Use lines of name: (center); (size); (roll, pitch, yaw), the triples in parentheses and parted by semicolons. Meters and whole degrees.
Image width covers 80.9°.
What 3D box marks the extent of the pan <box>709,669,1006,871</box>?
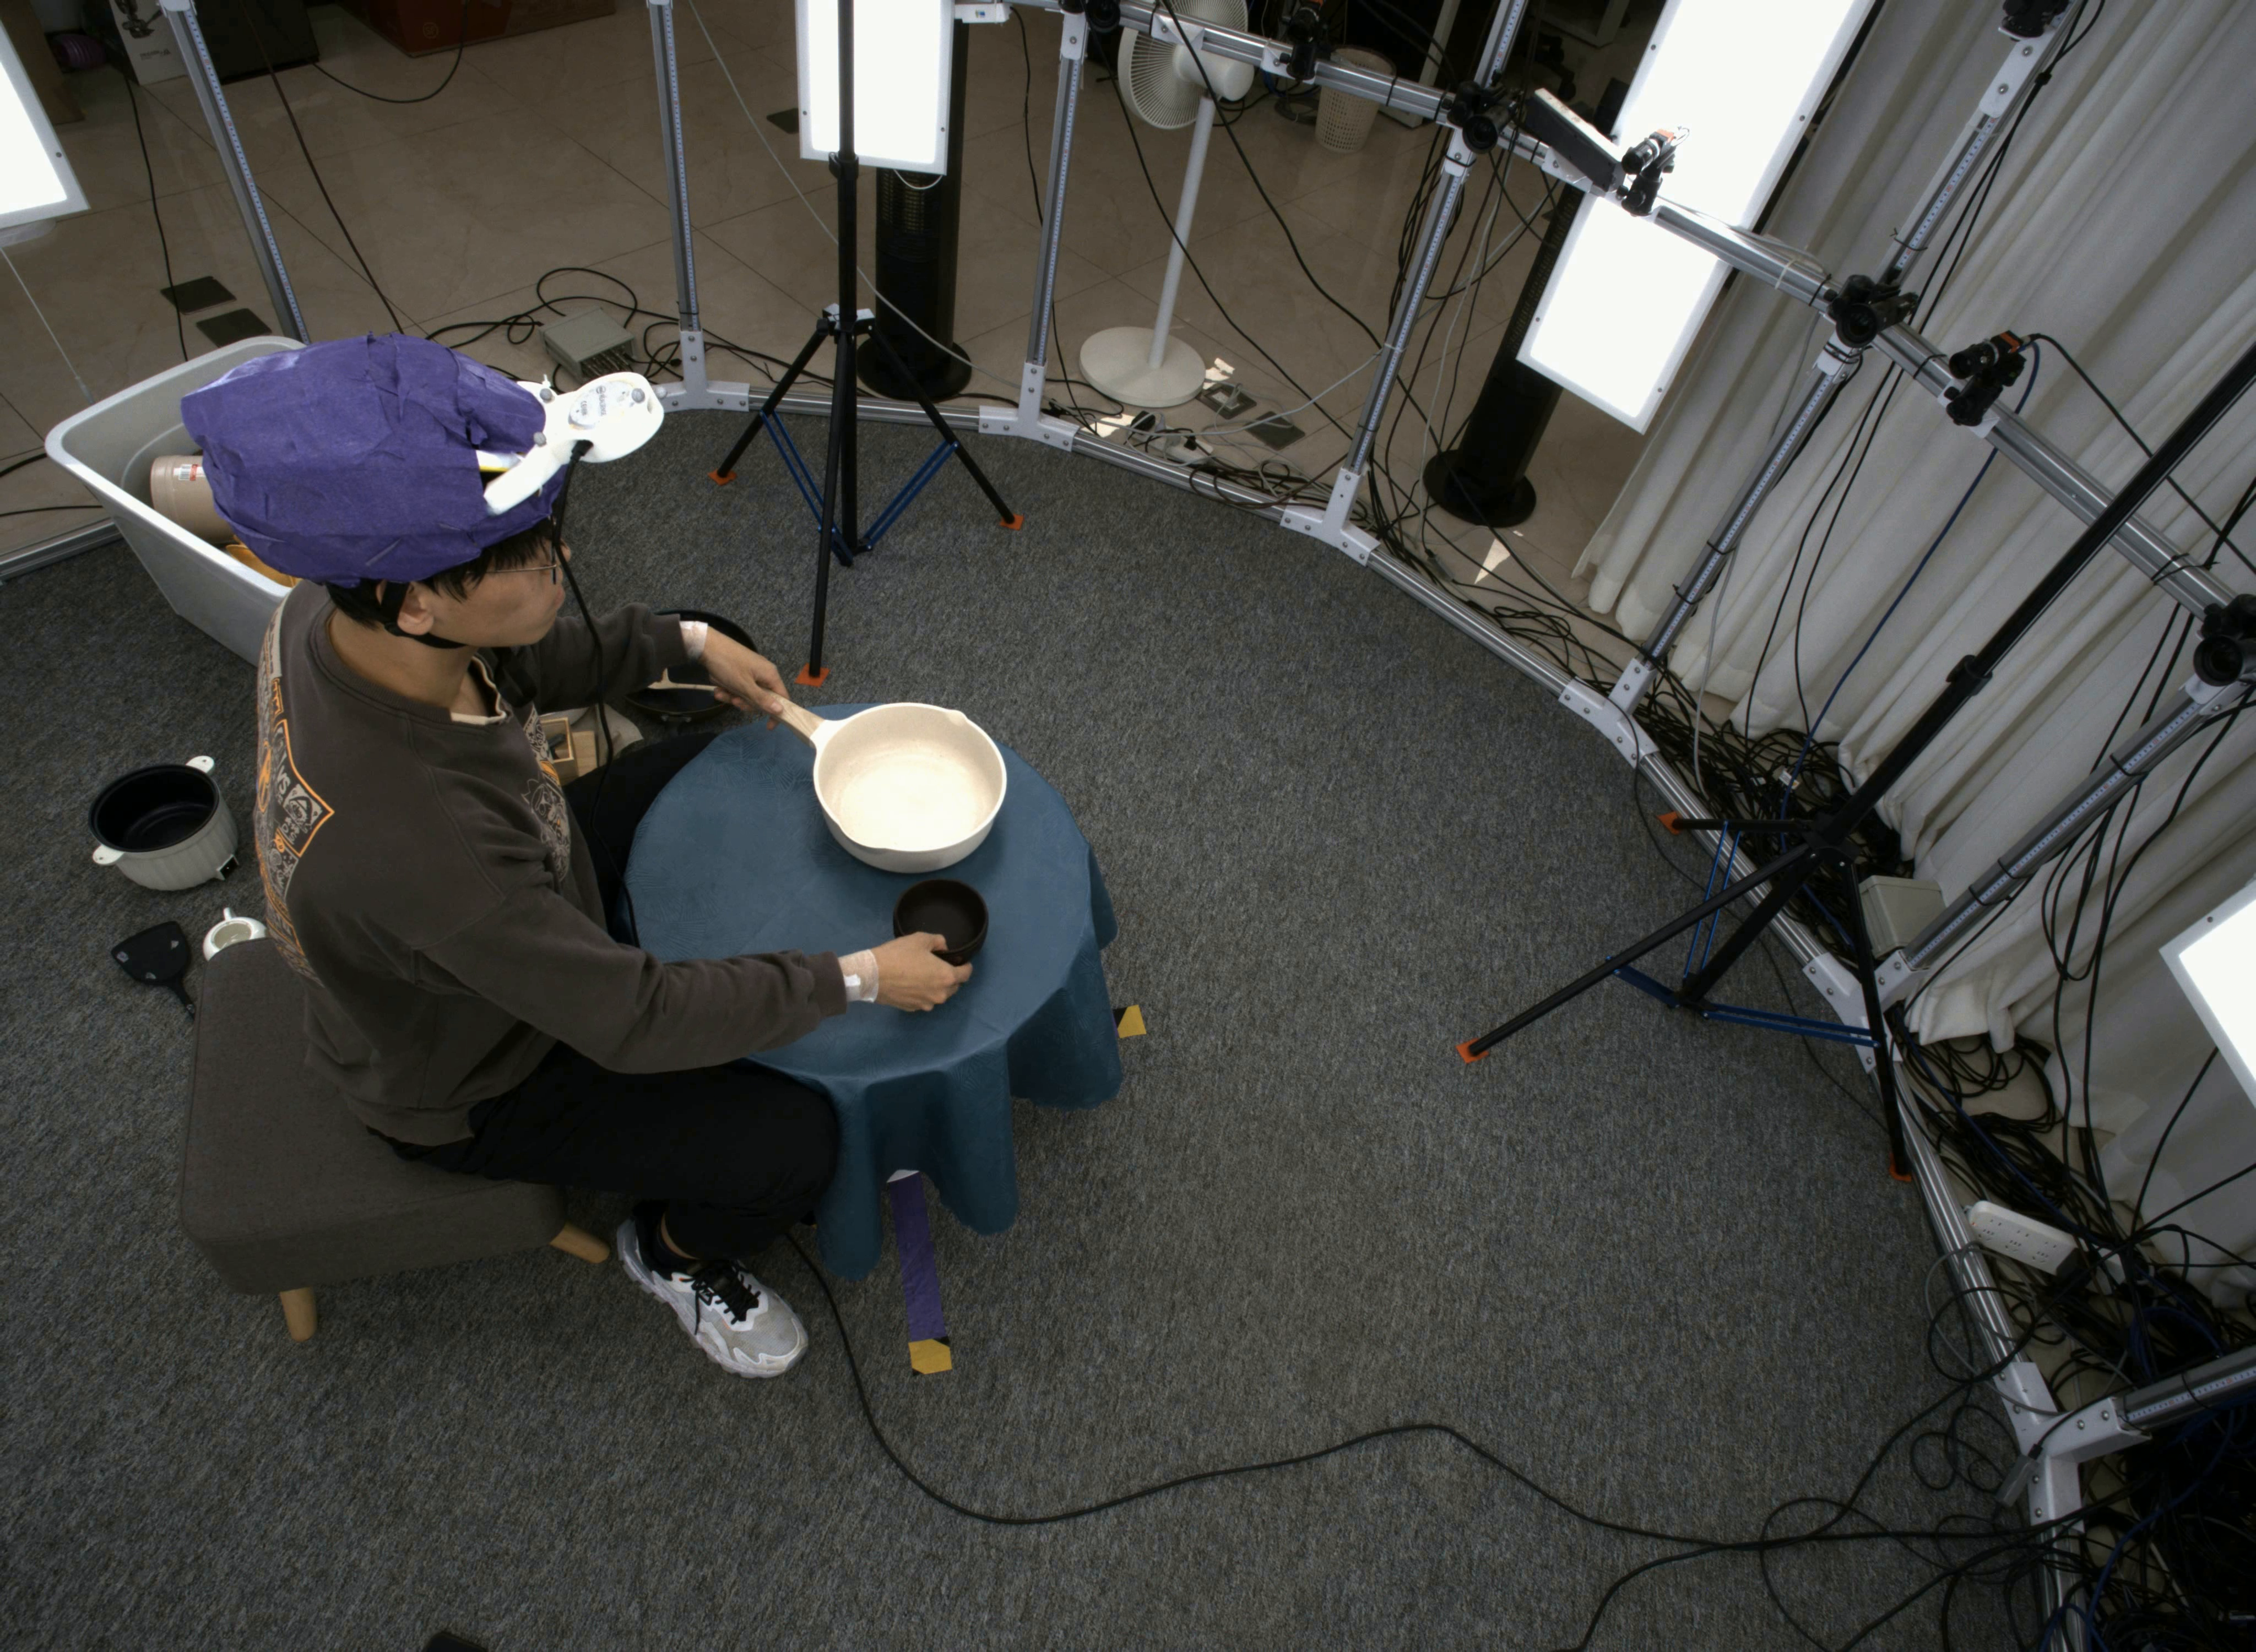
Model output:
pan: (-0.372, -0.091, 1.755); (0.429, 0.104, 0.262); (25, 55, 6)

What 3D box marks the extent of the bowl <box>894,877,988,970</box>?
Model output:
bowl: (-0.236, 0.129, 1.643); (0.118, 0.071, 0.116); (7, 53, -8)
